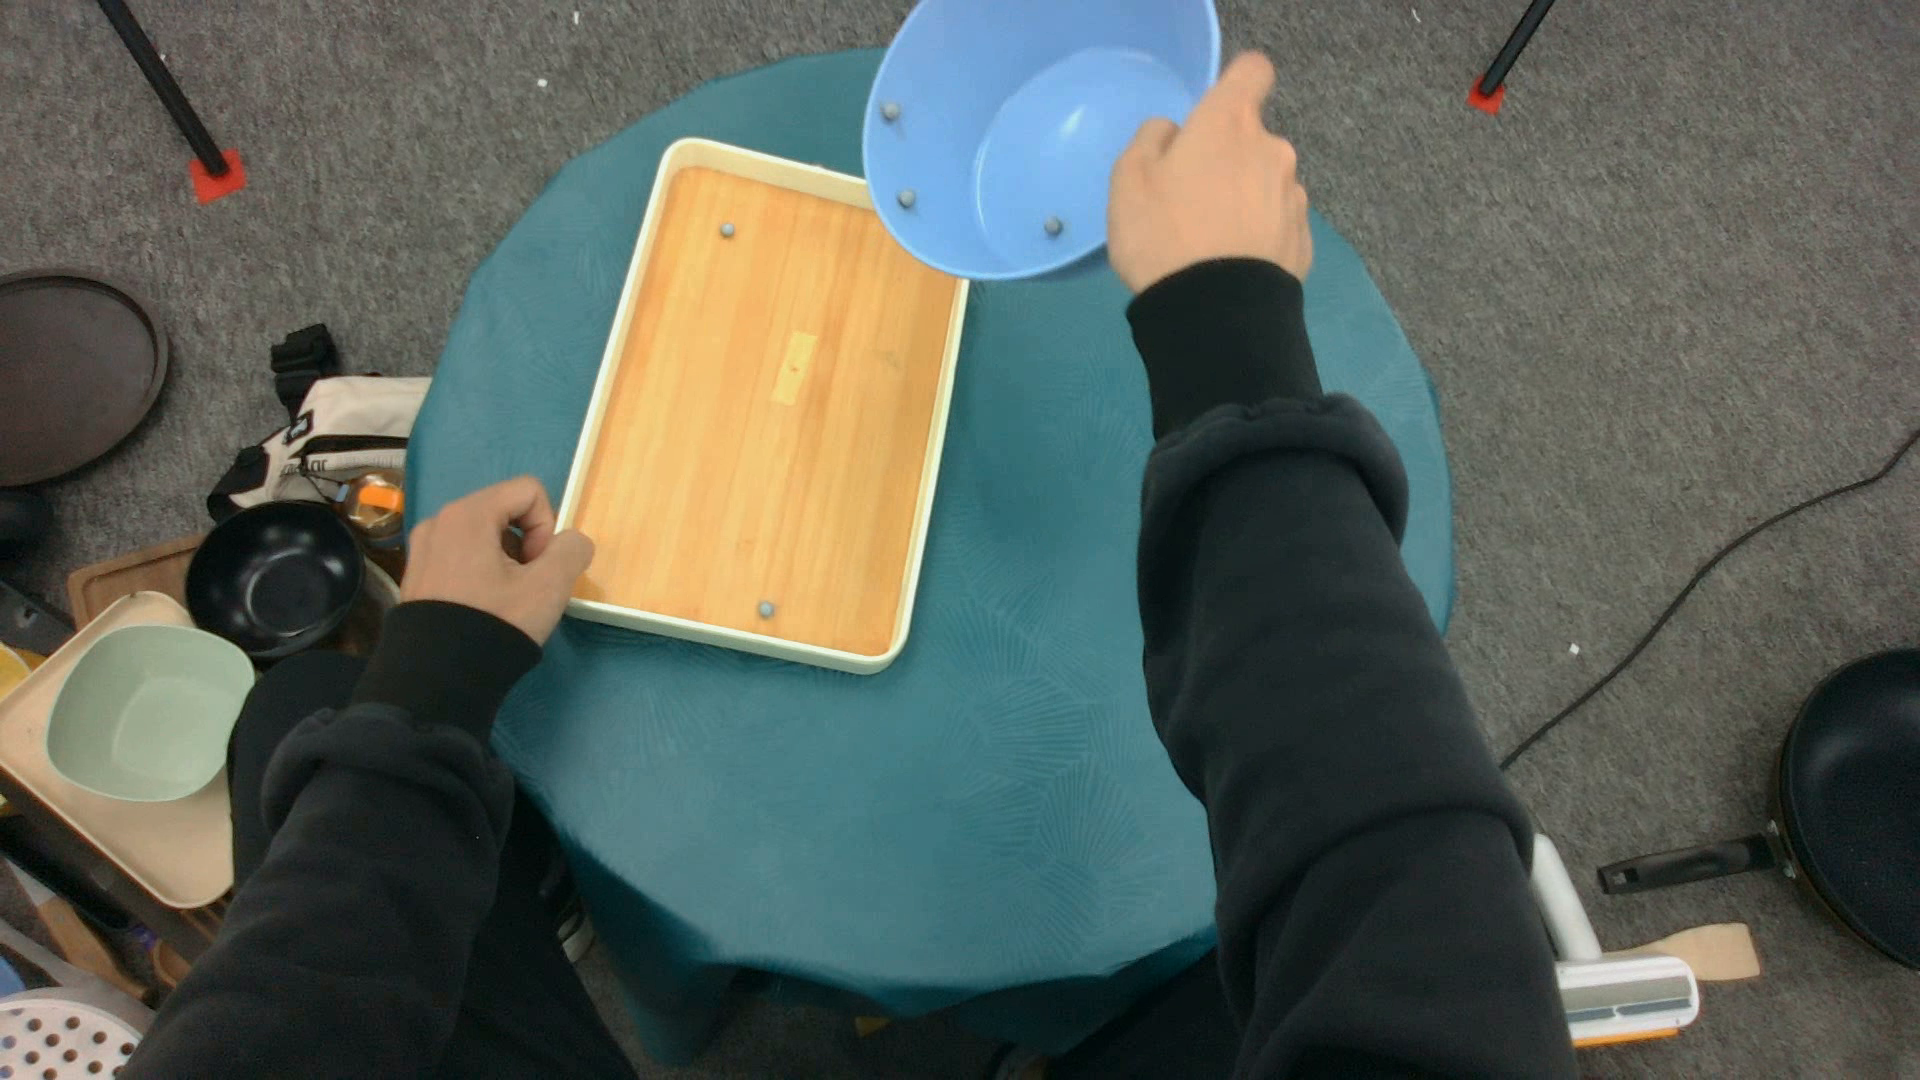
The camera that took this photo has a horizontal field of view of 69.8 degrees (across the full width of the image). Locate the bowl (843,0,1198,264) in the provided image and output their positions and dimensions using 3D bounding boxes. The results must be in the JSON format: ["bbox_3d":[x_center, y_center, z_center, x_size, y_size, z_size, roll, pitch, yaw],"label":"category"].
[{"bbox_3d":[0.036,-0.198,0.650,0.175,0.070,0.176,-8,70,25],"label":"bowl"}]

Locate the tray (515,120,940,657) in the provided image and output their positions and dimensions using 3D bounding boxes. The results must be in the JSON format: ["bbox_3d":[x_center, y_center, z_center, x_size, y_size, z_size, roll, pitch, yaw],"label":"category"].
[{"bbox_3d":[-0.119,-0.092,0.775,0.192,0.027,0.301,12,66,-9],"label":"tray"}]
